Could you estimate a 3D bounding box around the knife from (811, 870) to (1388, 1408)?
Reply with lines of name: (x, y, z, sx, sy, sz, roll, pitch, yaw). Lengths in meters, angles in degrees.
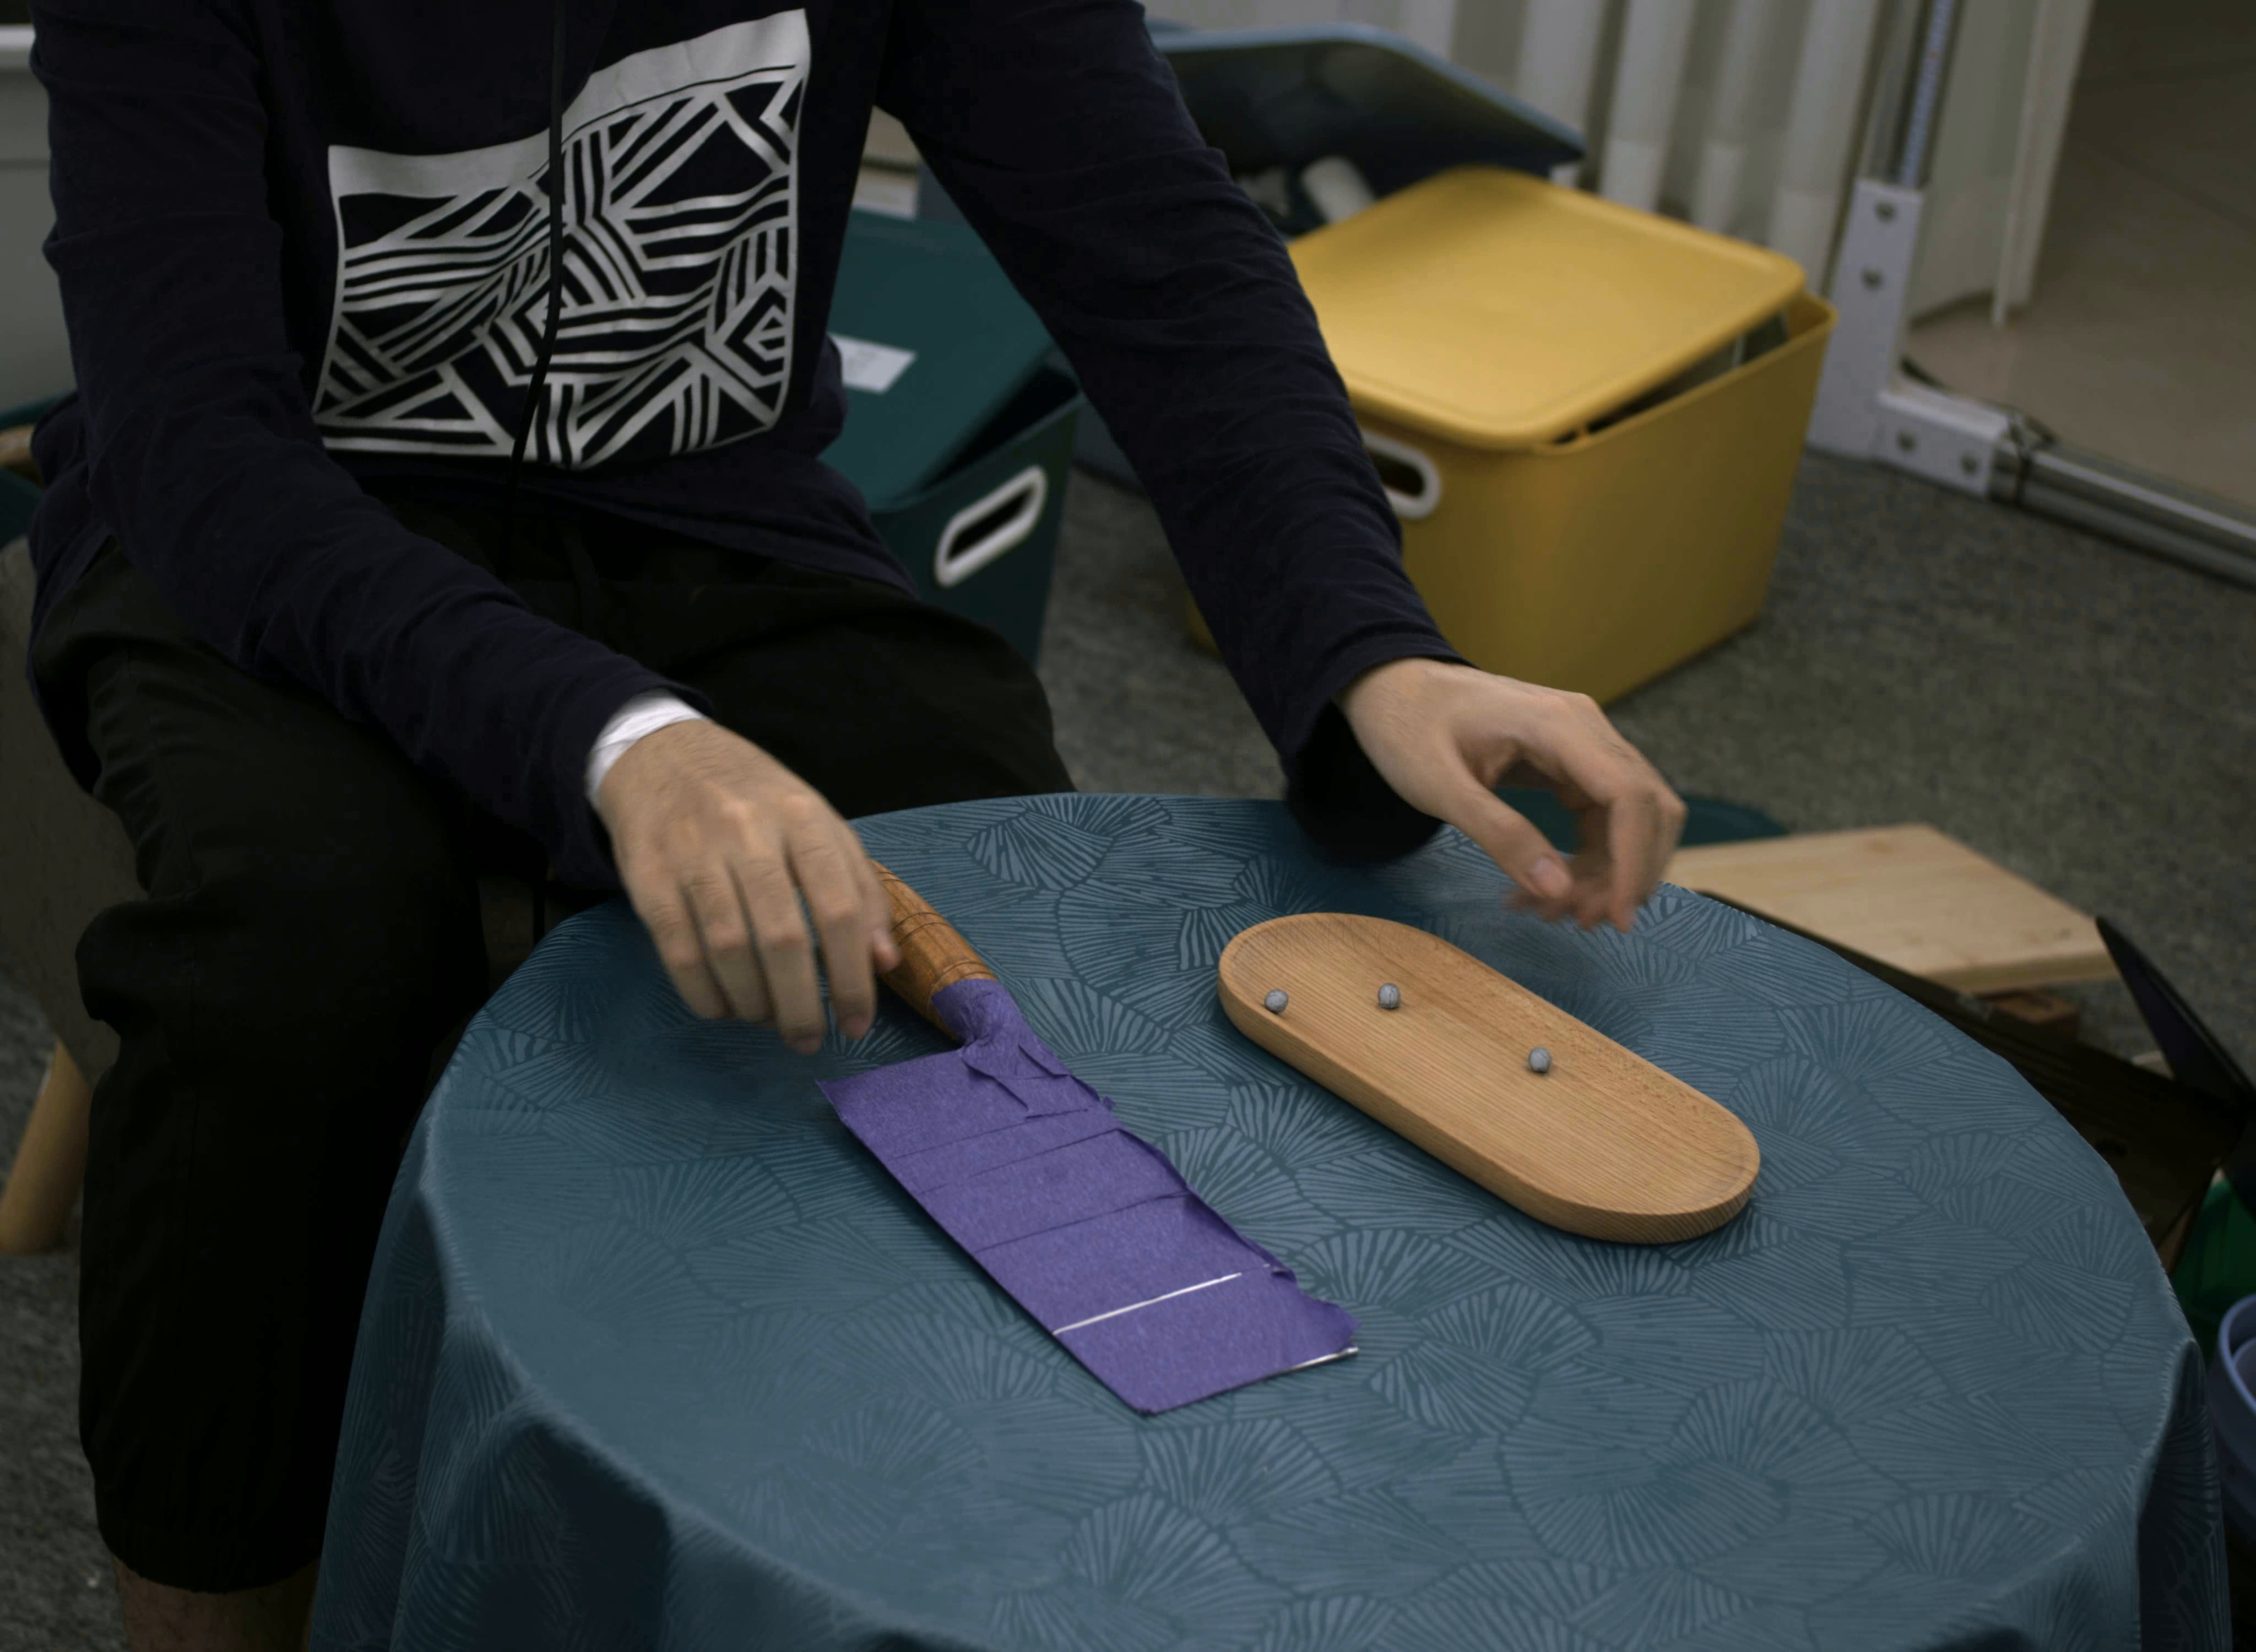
knife: (-0.041, 0.102, 1.810, 0.103, 0.032, 0.318, -12, 32, -32)

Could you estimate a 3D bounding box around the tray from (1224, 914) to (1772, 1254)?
tray: (0.128, 0.090, 1.885, 0.101, 0.020, 0.233, -20, 39, -39)
